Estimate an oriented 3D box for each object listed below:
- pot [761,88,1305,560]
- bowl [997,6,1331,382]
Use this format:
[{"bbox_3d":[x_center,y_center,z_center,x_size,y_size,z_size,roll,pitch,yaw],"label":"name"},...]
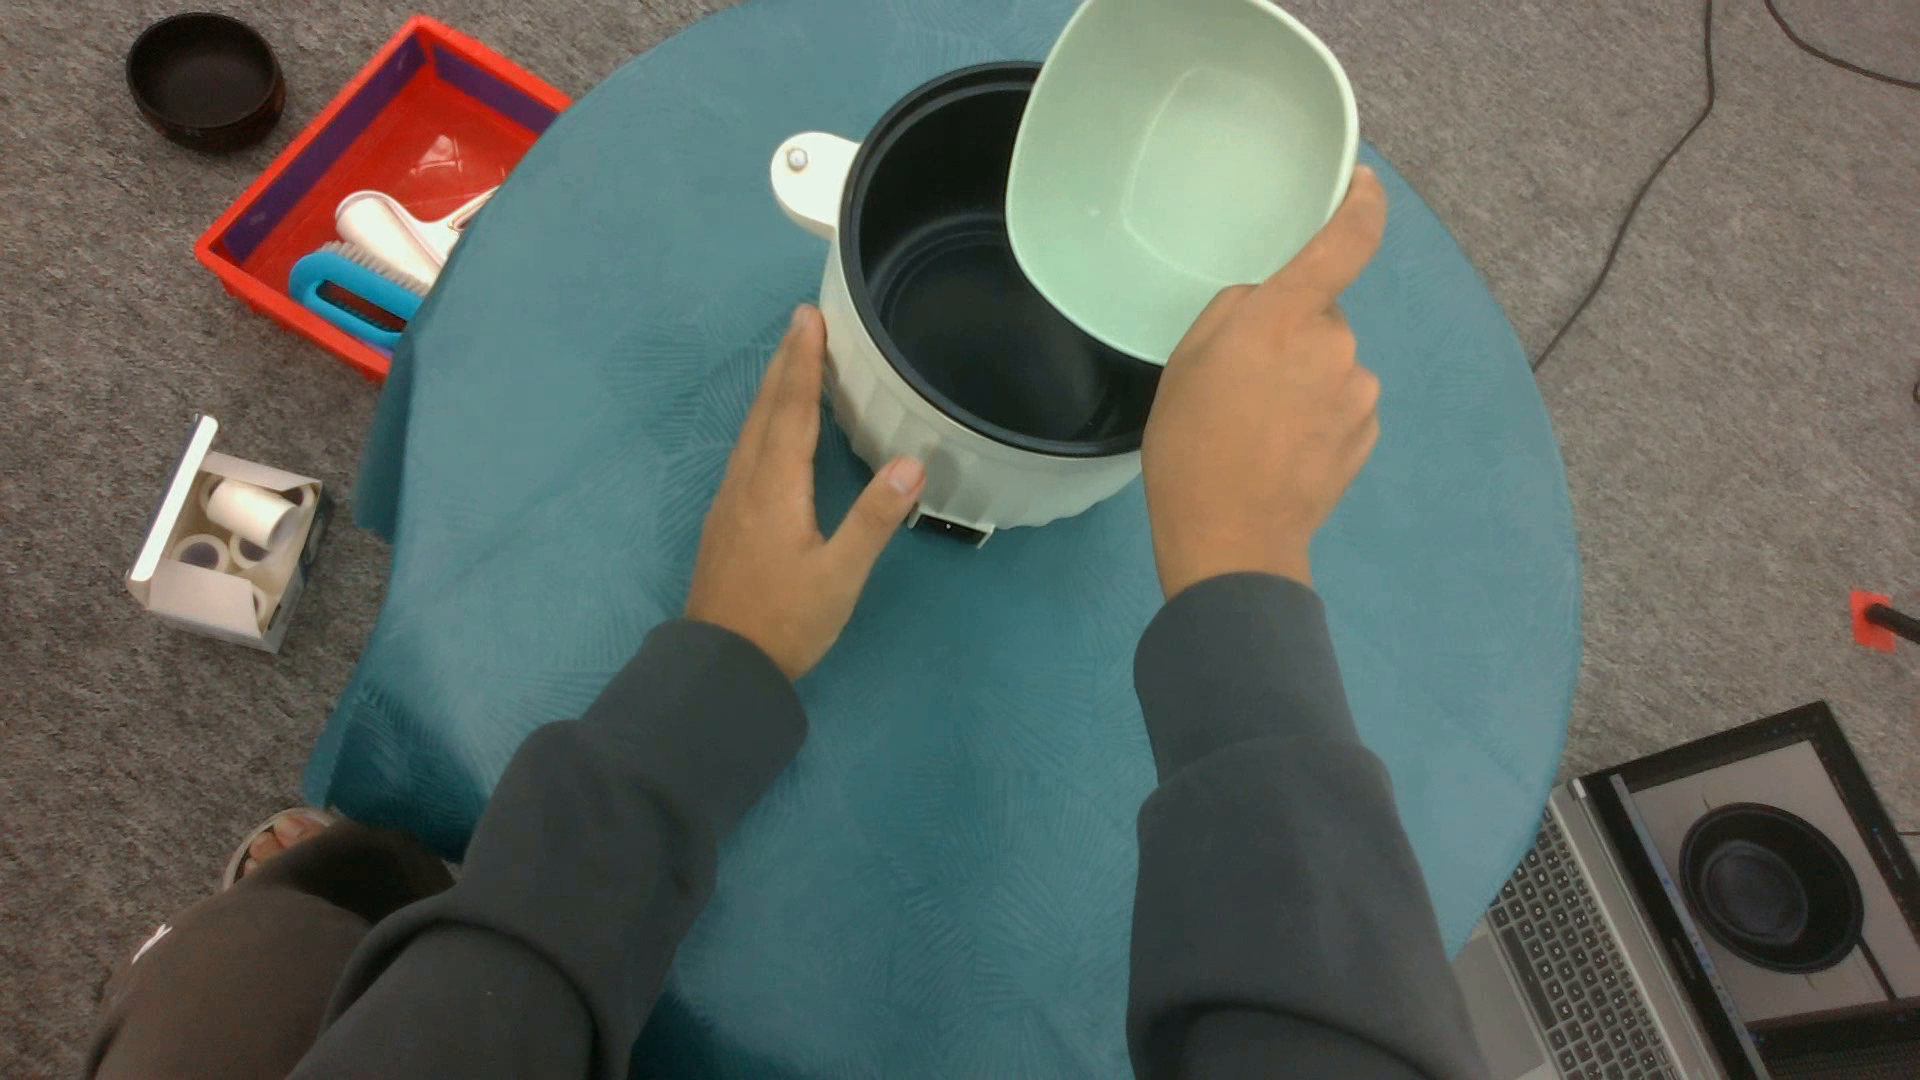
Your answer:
[{"bbox_3d":[0.021,-0.099,0.643,0.240,0.142,0.191,13,72,-10],"label":"pot"},{"bbox_3d":[0.091,-0.142,0.570,0.059,0.150,0.151,-16,72,-52],"label":"bowl"}]
